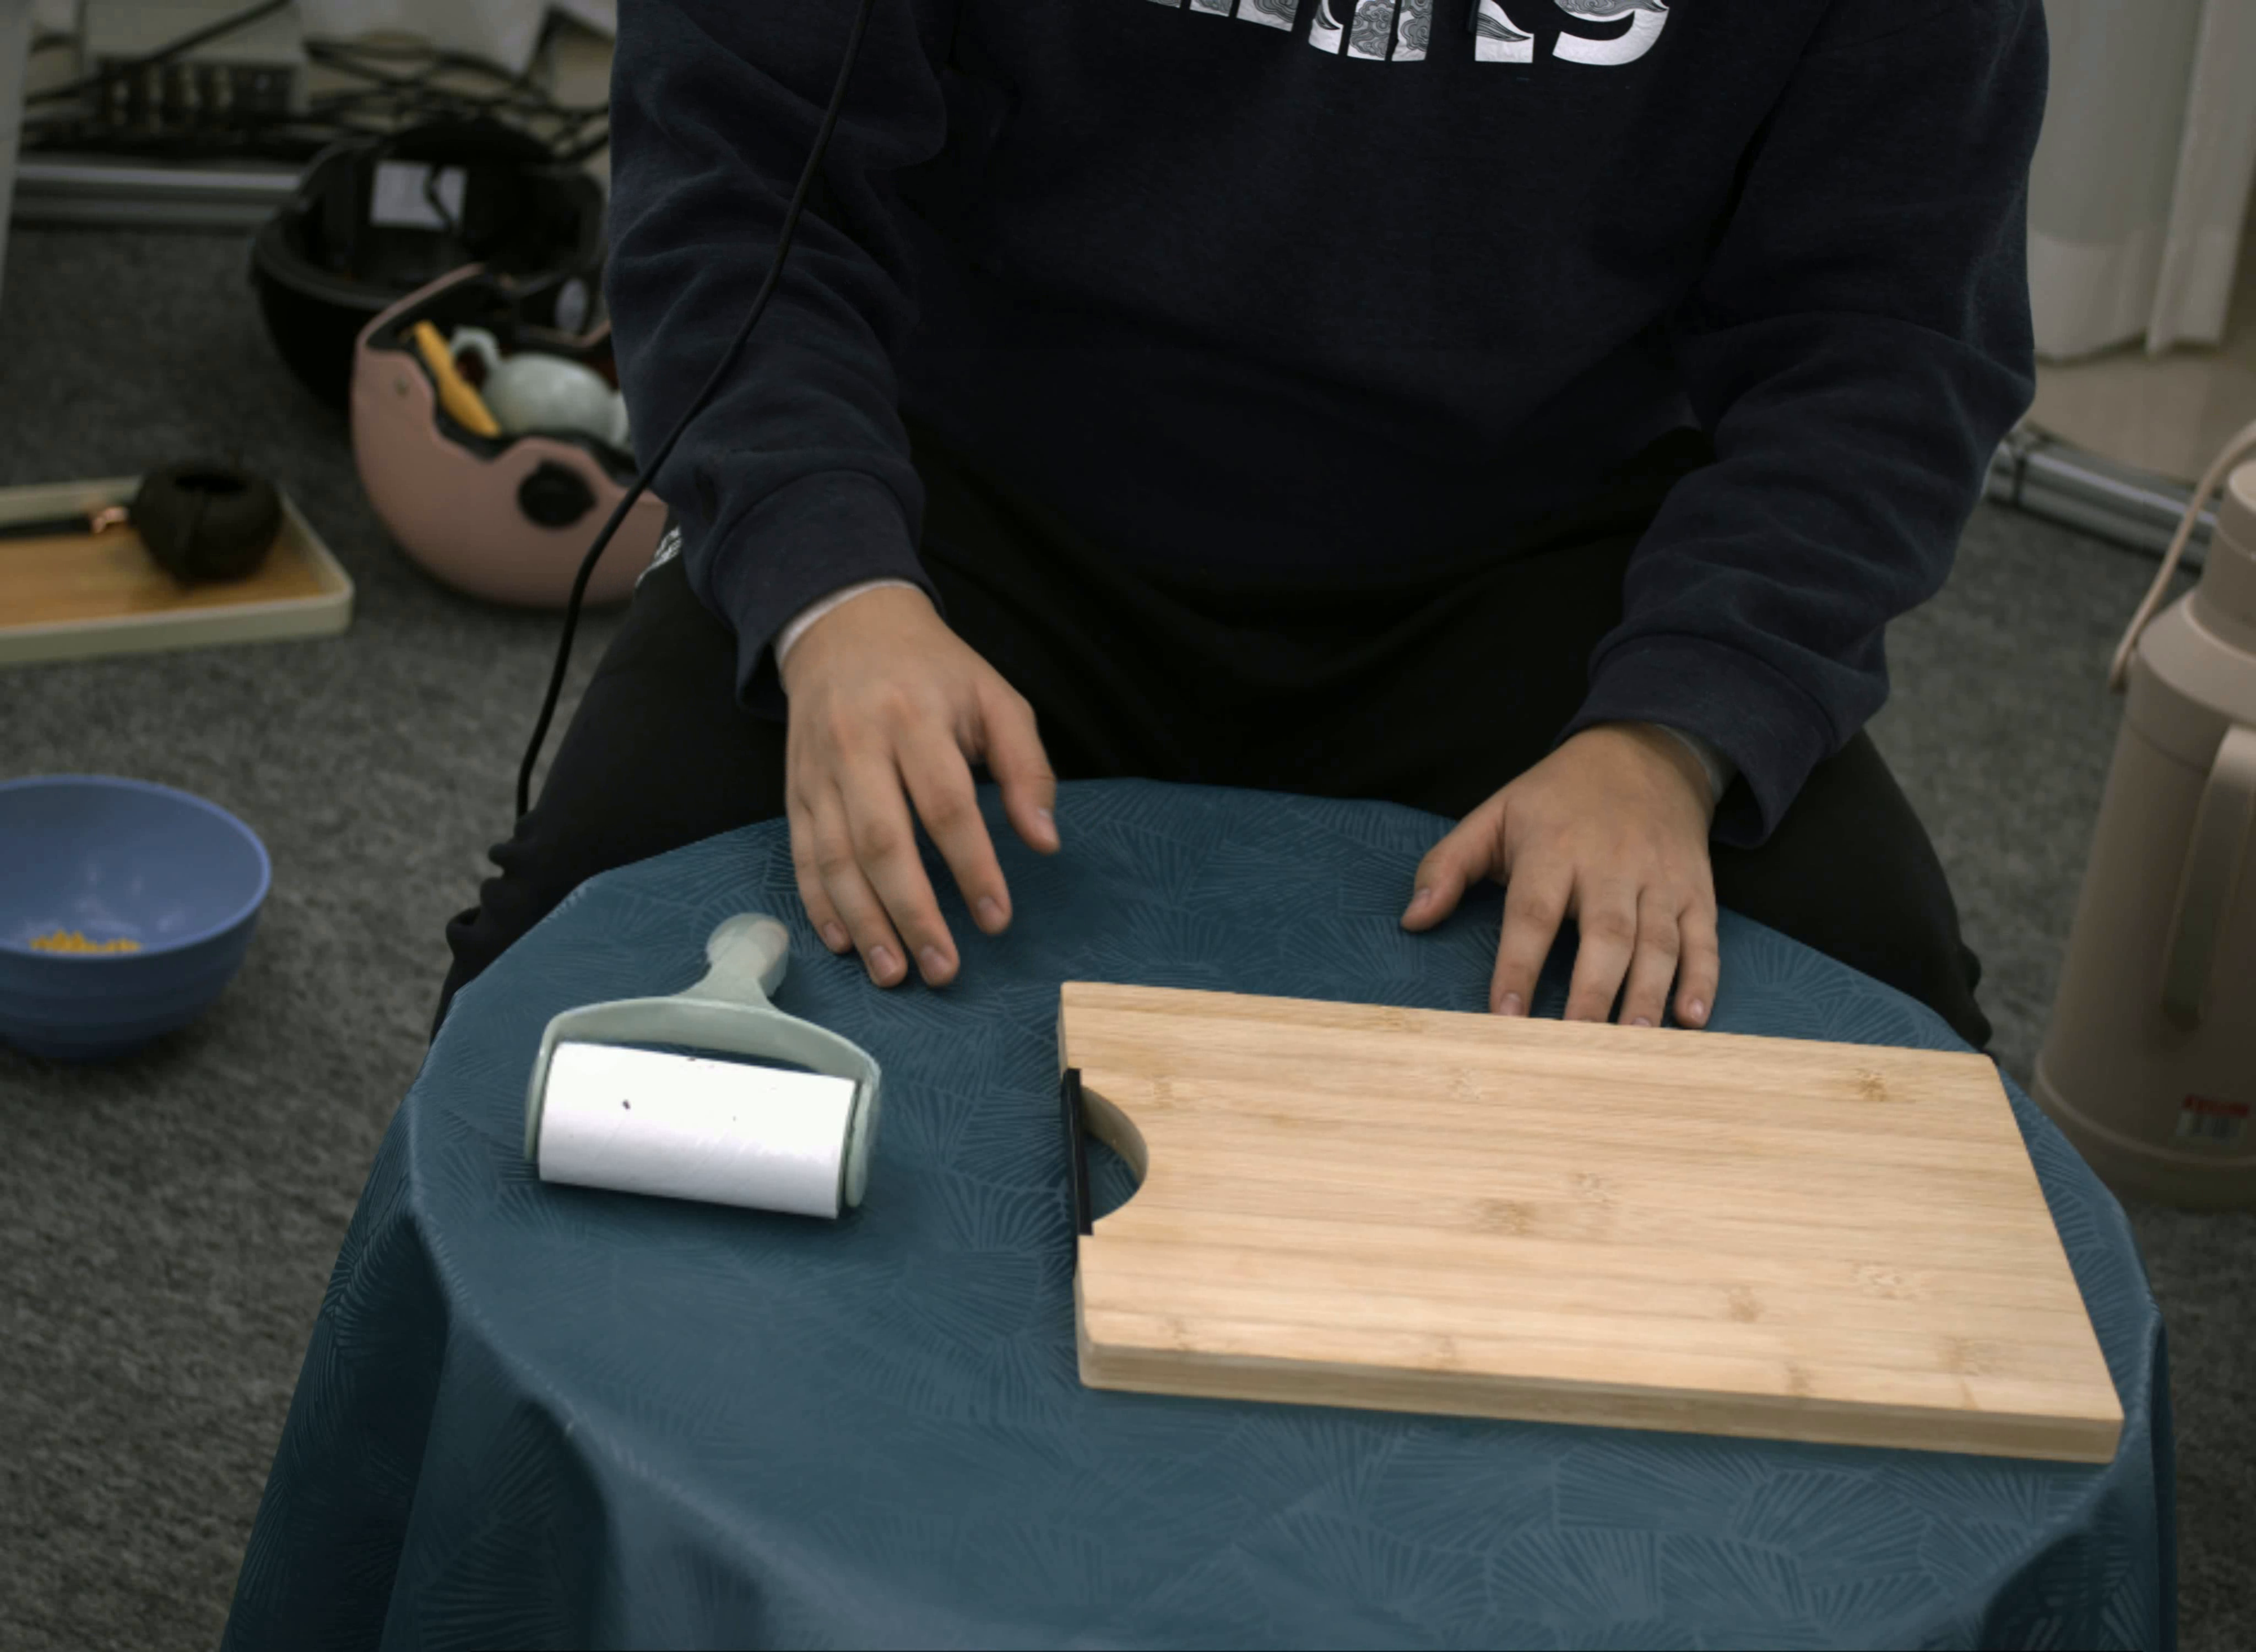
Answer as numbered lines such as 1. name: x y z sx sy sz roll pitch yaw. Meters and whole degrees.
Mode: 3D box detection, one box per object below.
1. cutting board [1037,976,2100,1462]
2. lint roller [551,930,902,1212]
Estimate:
1. cutting board: 0.143 0.131 1.809 0.347 0.023 0.252 4 26 -5
2. lint roller: -0.130 0.071 1.832 0.116 0.048 0.198 5 24 1
